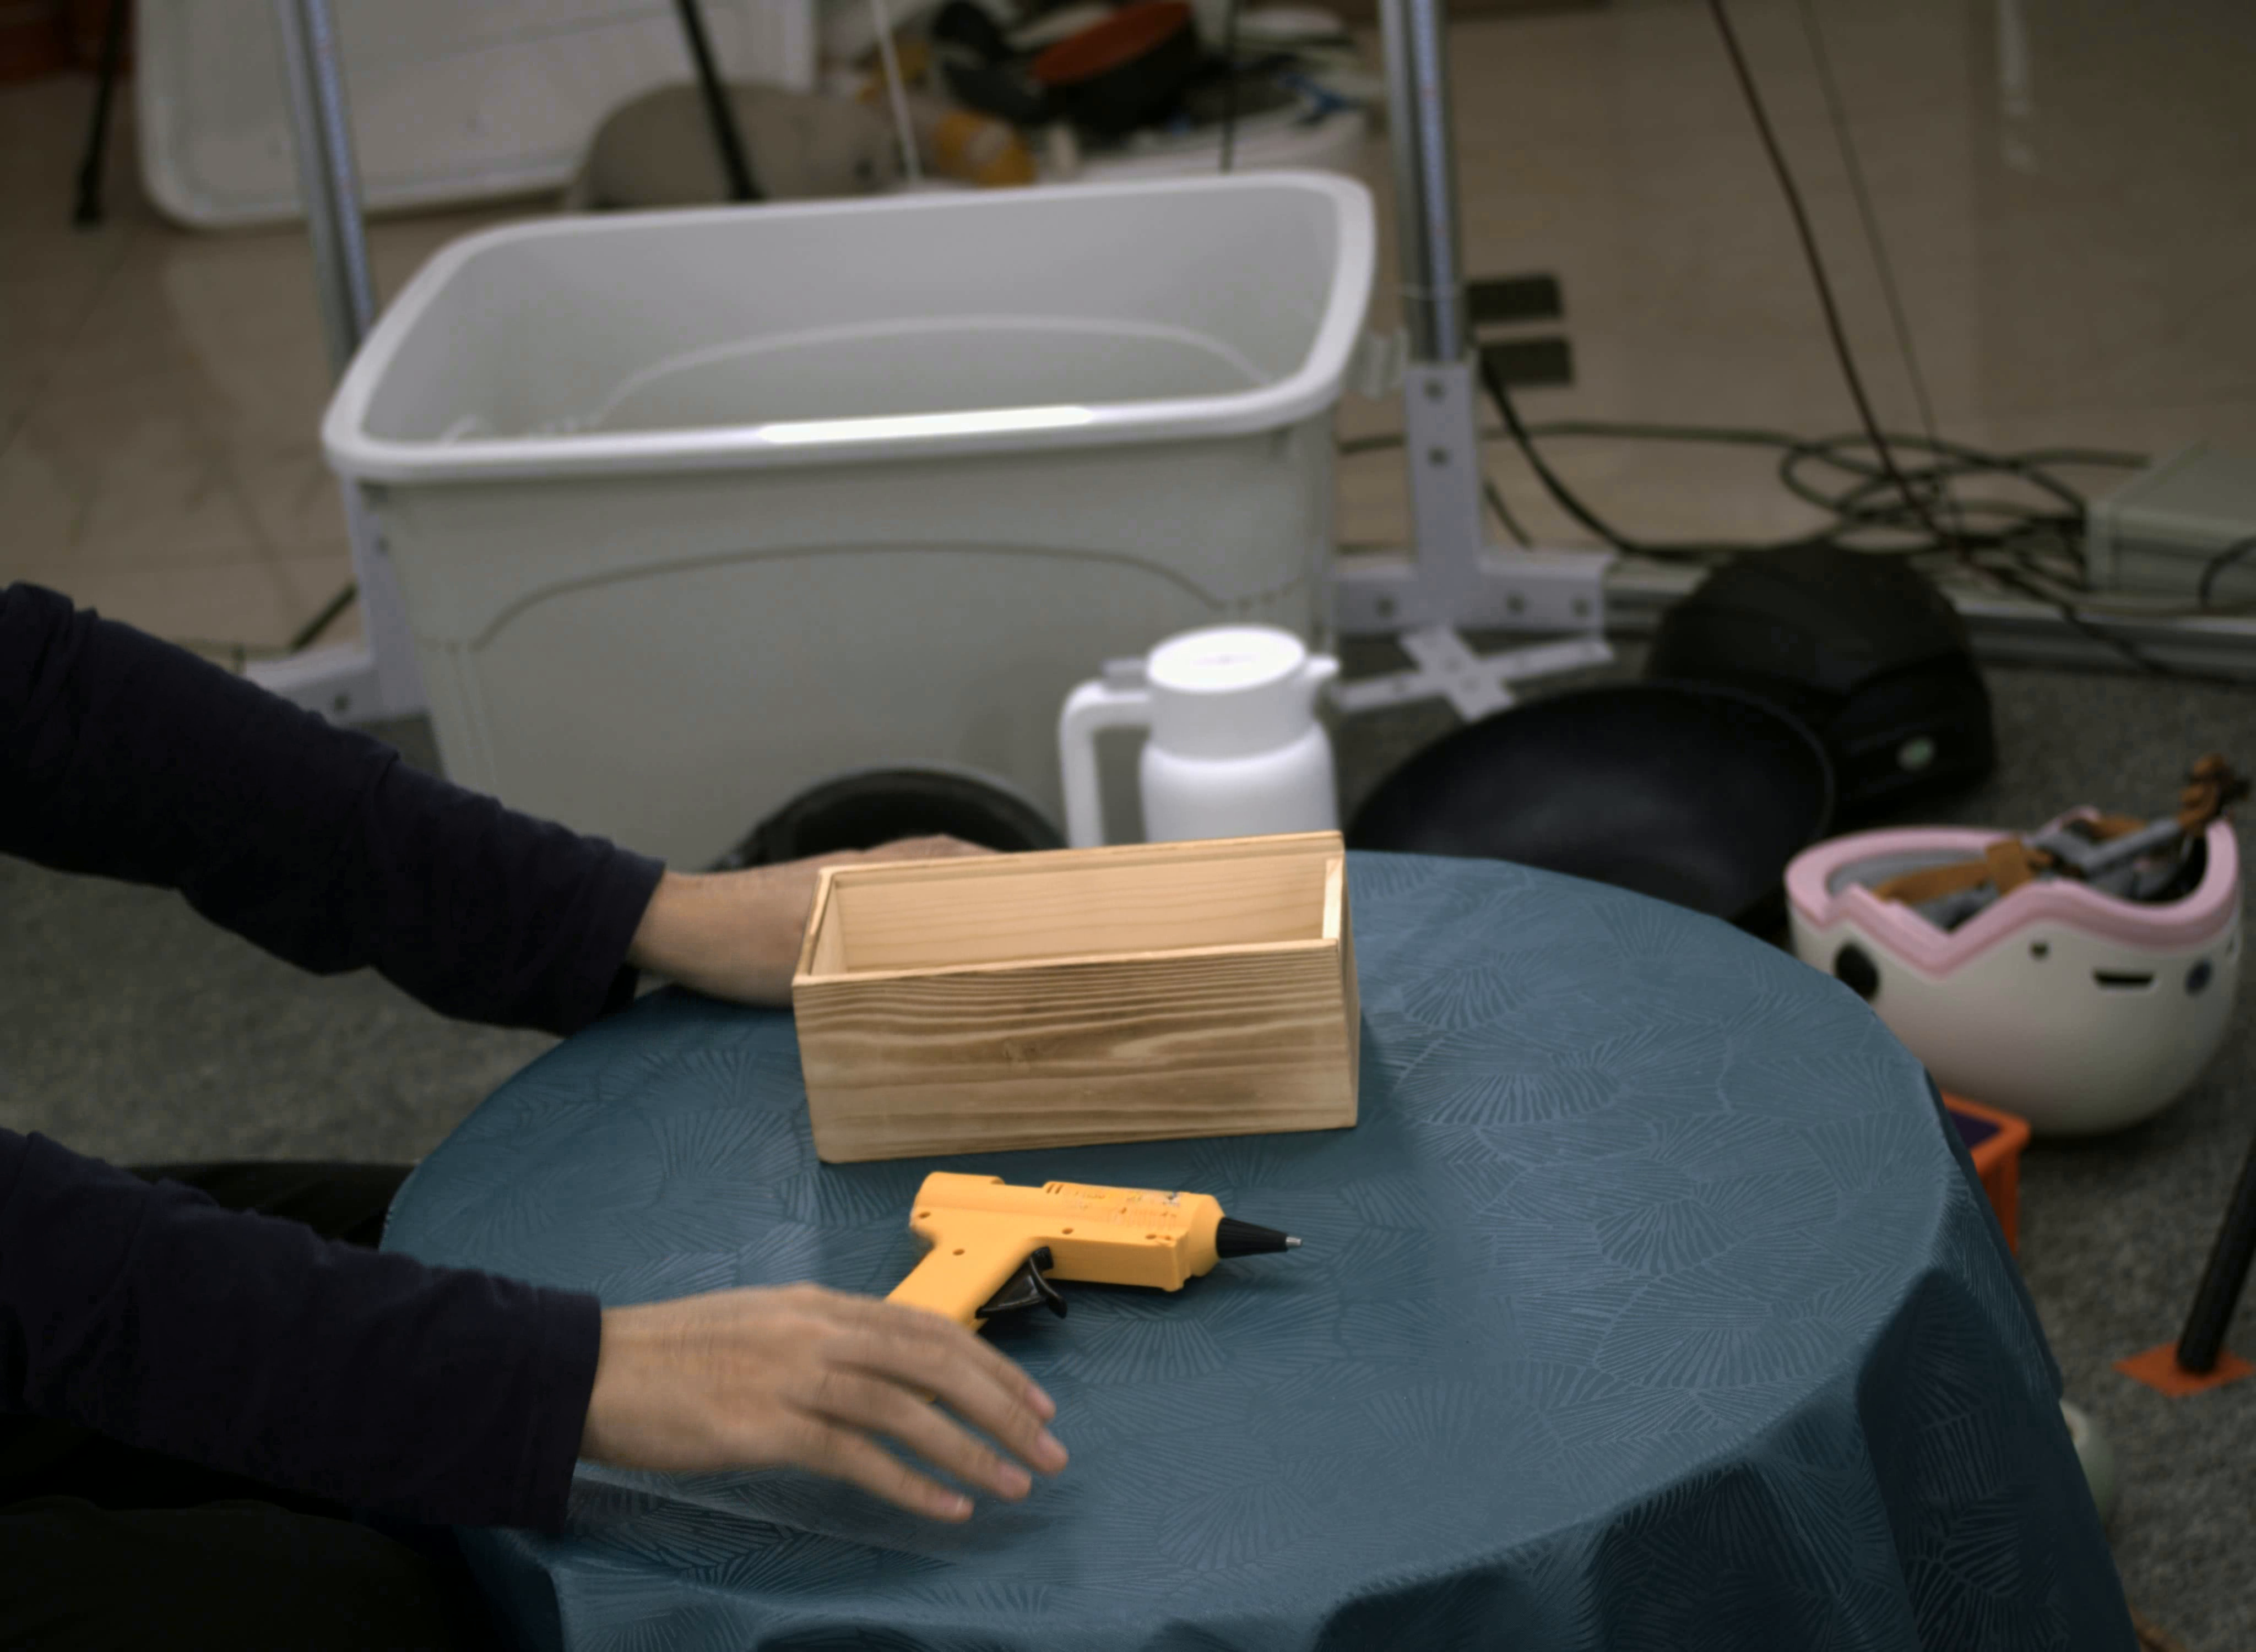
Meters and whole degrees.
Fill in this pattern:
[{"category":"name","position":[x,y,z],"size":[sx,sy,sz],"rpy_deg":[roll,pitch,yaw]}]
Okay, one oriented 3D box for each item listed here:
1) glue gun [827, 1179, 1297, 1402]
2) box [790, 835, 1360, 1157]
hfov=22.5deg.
[{"category":"glue gun","position":[-0.020,0.169,2.058],"size":[0.151,0.031,0.131],"rpy_deg":[0,26,16]},{"category":"box","position":[-0.018,0.066,2.214],"size":[0.211,0.081,0.106],"rpy_deg":[-3,25,5]}]
